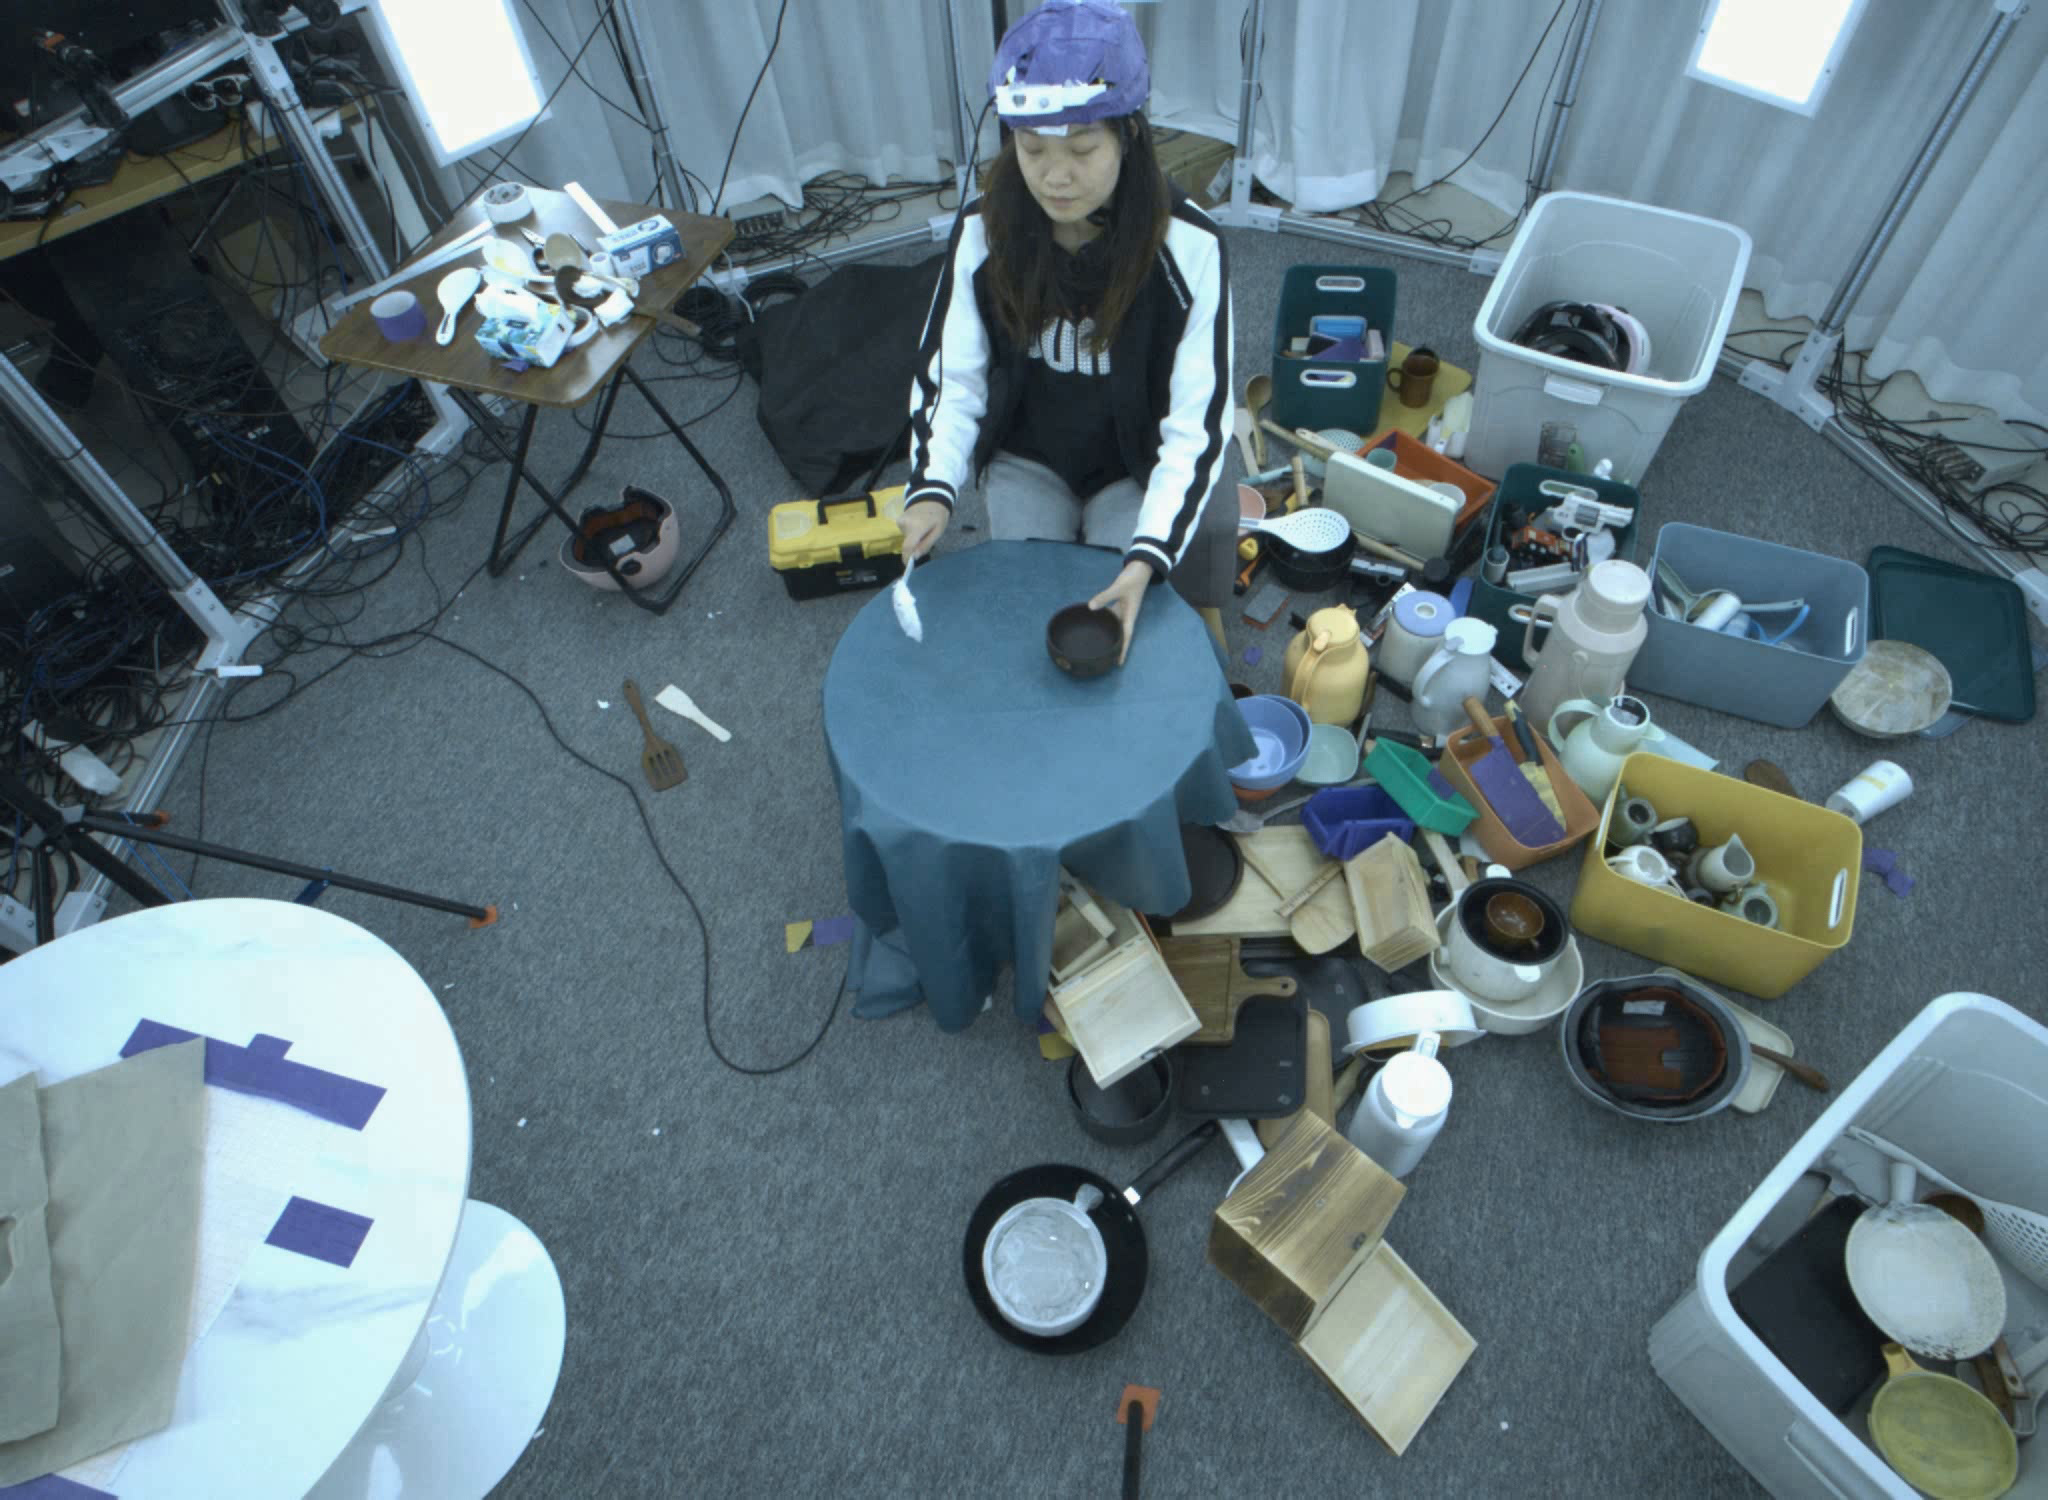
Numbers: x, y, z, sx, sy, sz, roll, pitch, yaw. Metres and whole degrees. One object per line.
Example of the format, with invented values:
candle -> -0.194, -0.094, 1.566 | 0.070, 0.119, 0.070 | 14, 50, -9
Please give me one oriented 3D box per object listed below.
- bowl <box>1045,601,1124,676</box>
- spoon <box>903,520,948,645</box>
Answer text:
bowl -> 0.091, -0.160, 1.853 | 0.118, 0.070, 0.117 | 0, 54, 2
spoon -> -0.129, -0.263, 1.853 | 0.058, 0.102, 0.276 | -7, 45, 24
